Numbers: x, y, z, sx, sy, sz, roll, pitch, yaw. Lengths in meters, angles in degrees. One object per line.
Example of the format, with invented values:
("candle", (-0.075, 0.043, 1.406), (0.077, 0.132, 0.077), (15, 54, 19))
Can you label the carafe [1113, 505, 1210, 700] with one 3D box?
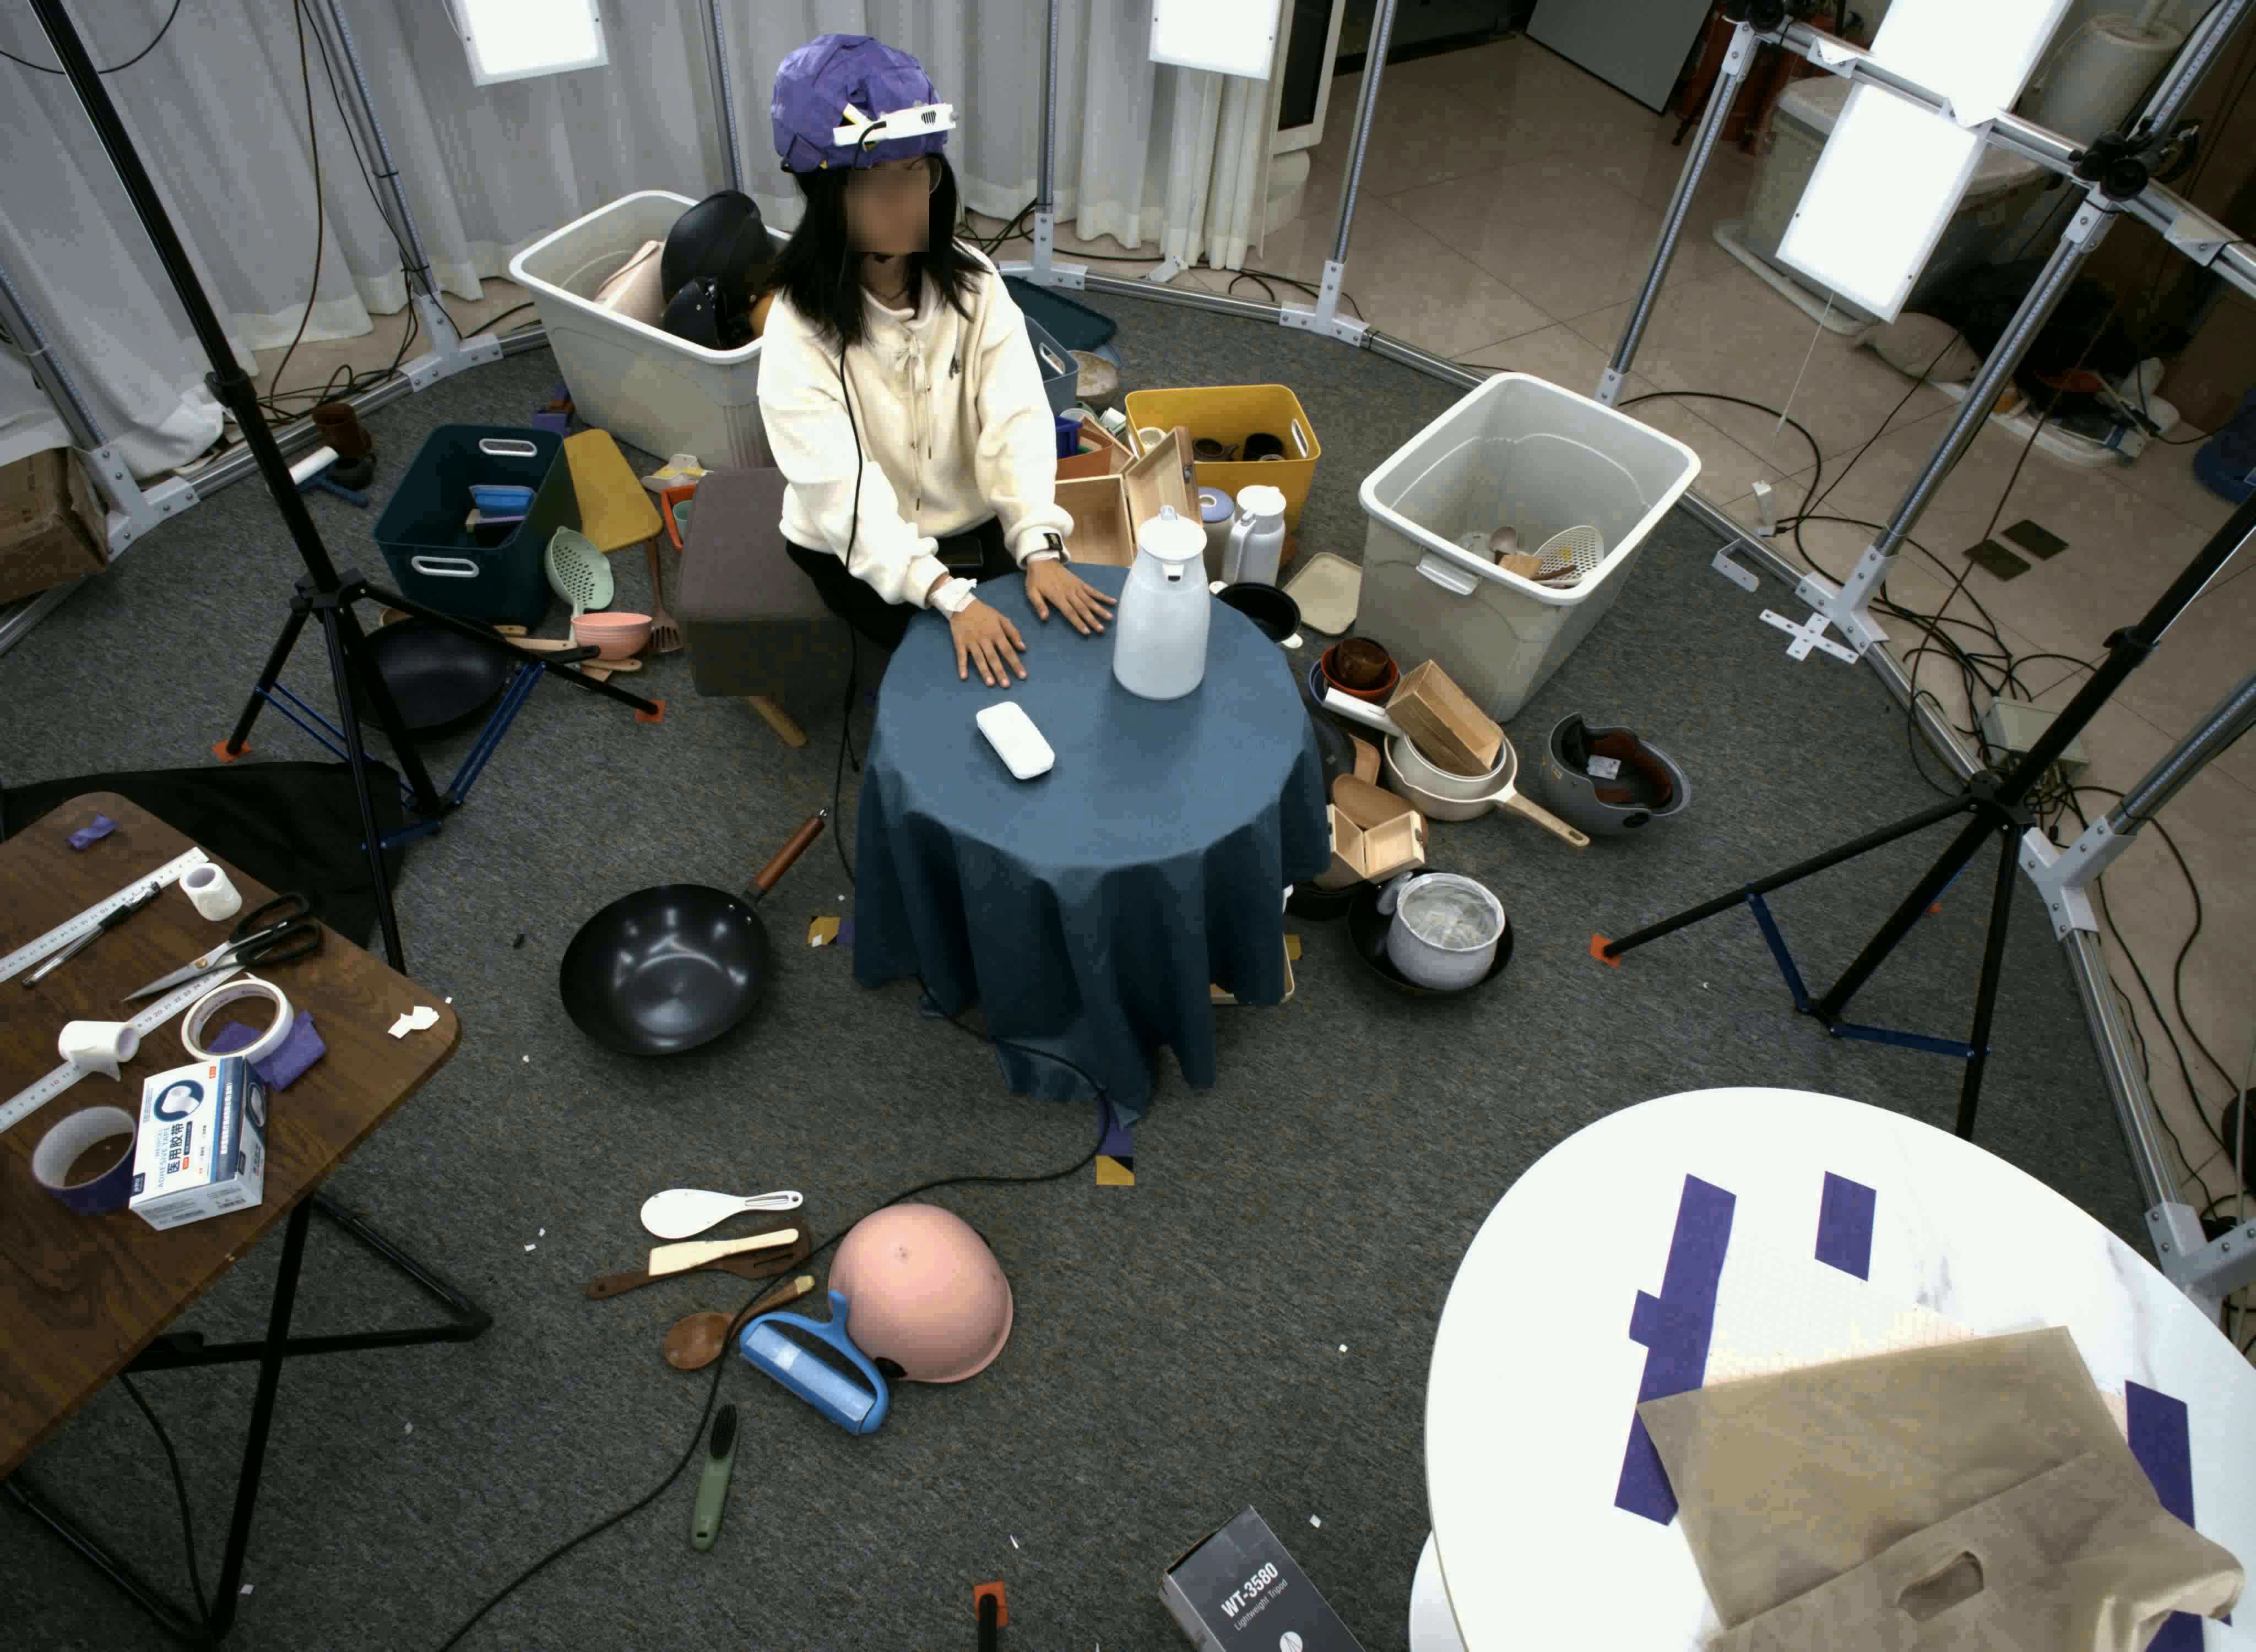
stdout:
("carafe", (0.049, -0.323, 1.793), (0.132, 0.242, 0.172), (-1, 49, -5))

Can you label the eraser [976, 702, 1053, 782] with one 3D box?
("eraser", (-0.154, -0.118, 1.741), (0.063, 0.034, 0.134), (-20, 54, -24))
